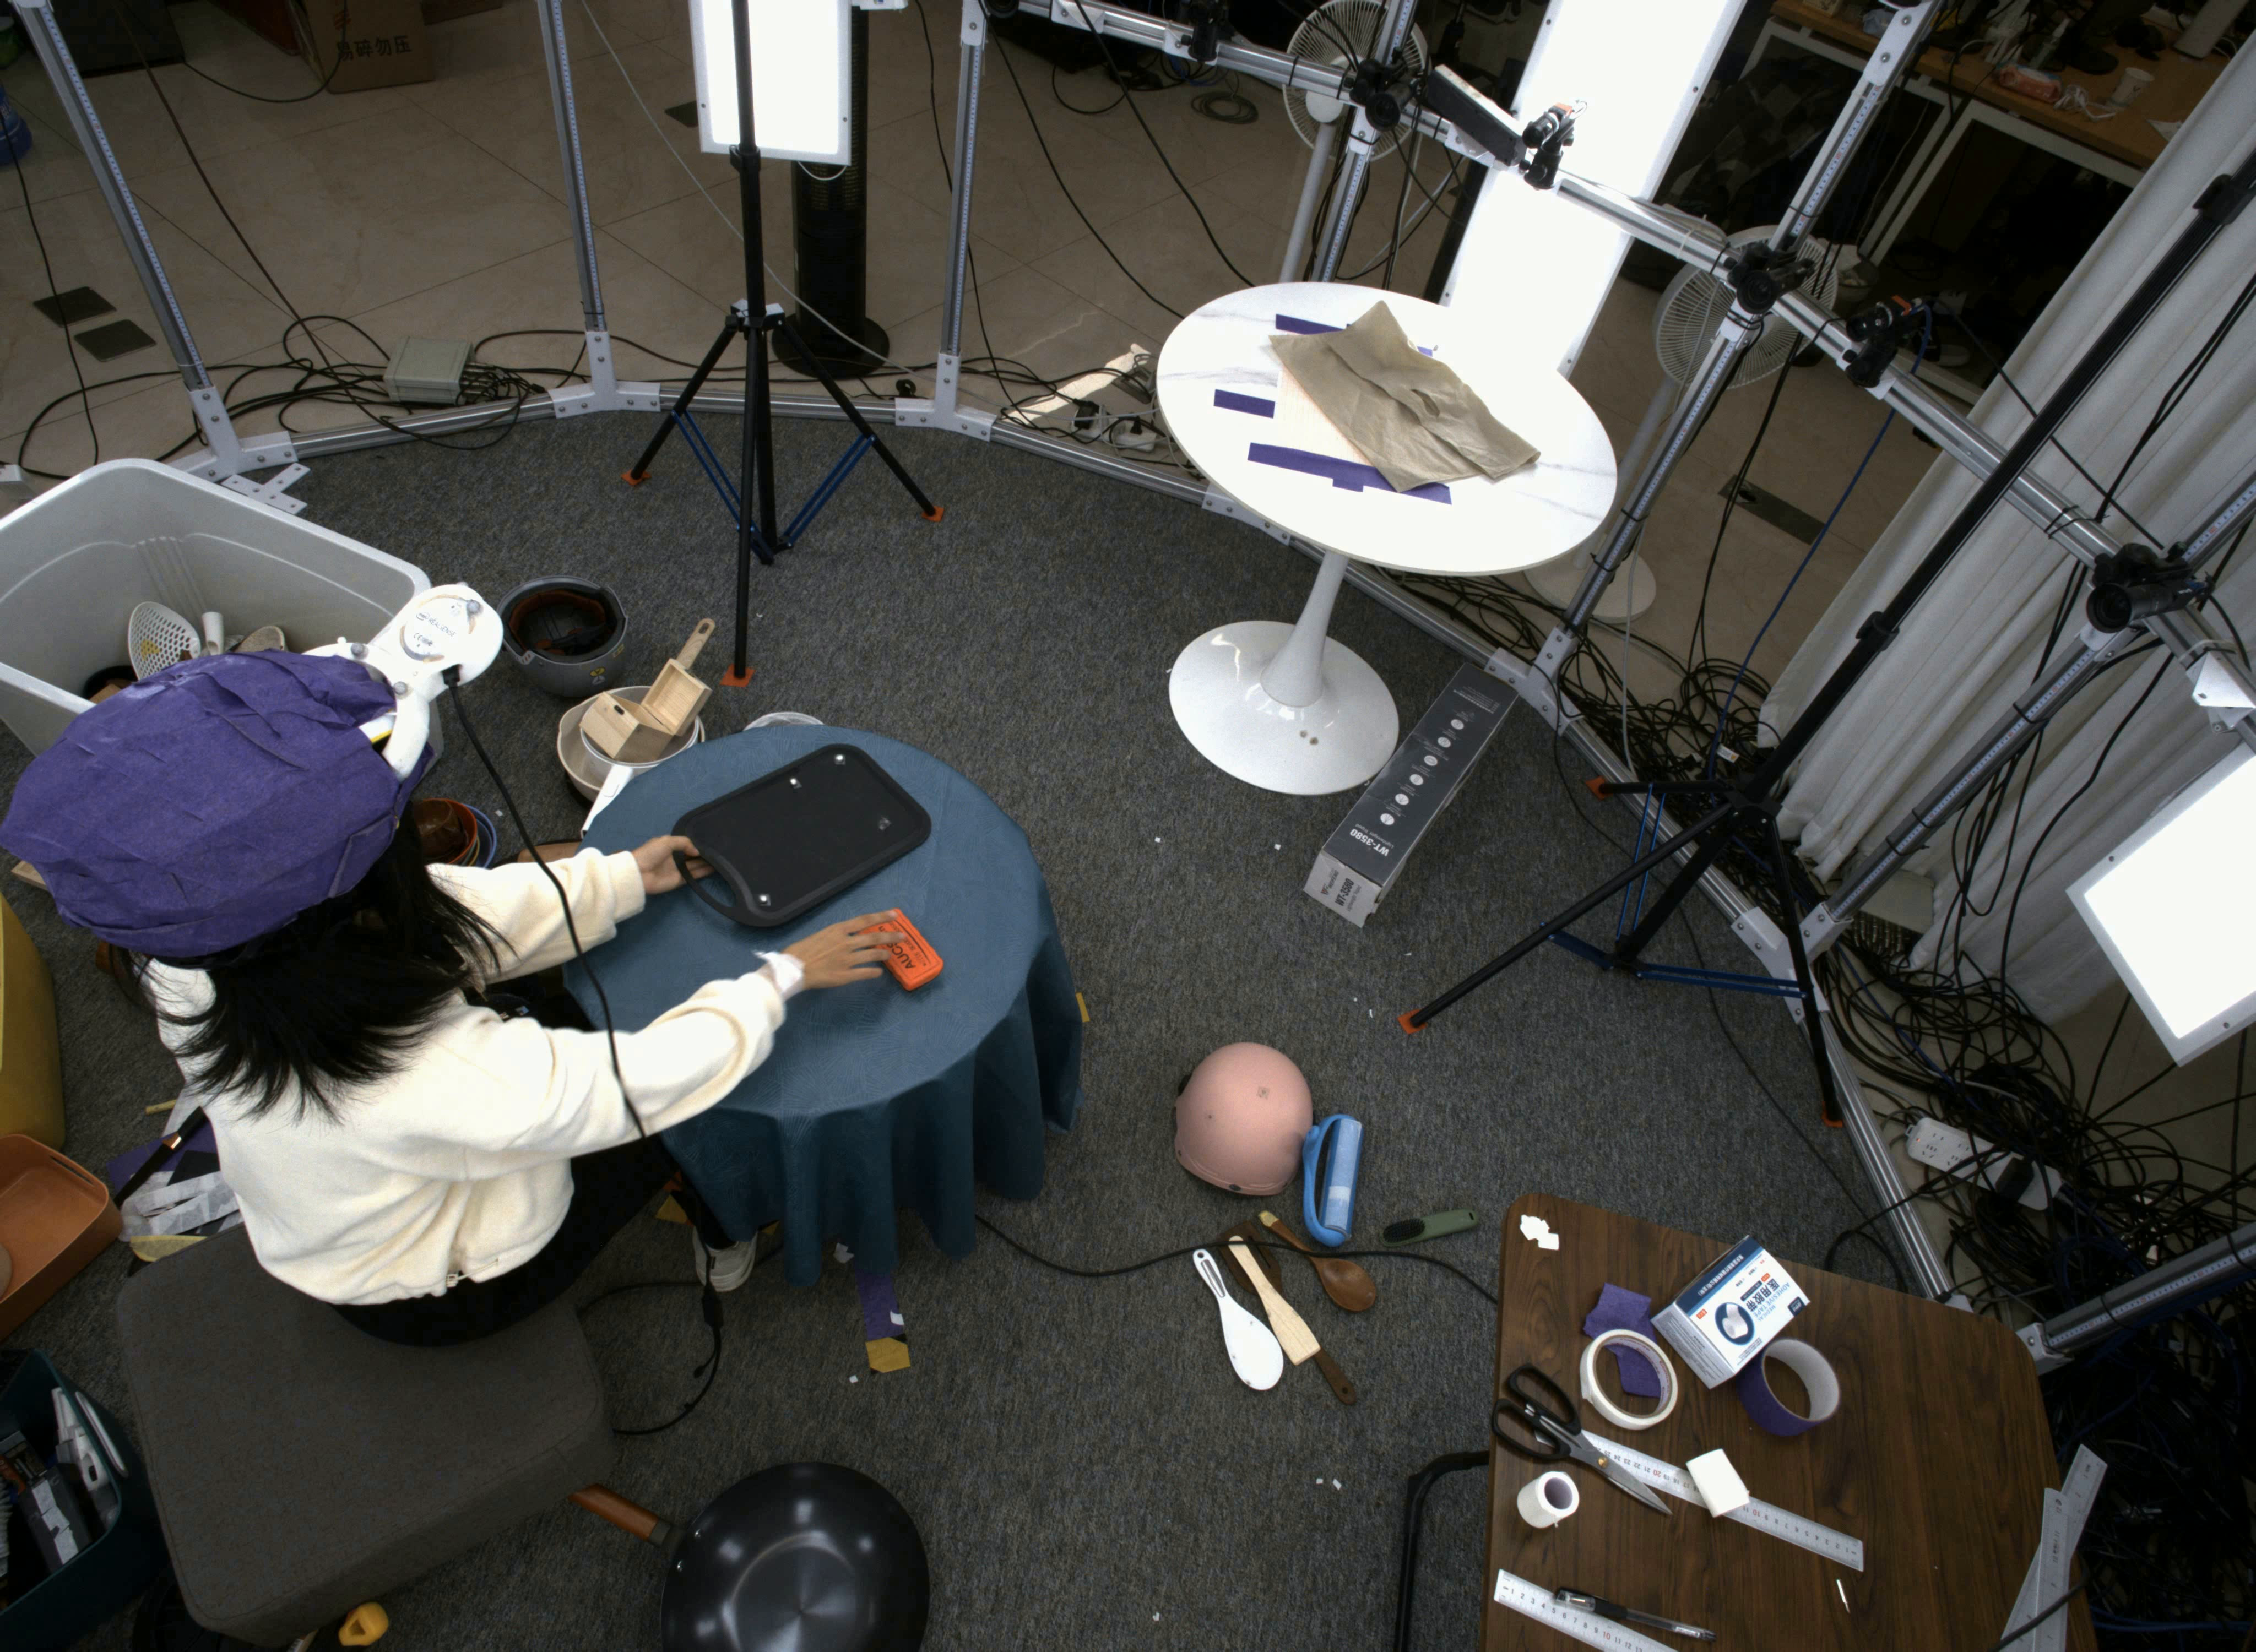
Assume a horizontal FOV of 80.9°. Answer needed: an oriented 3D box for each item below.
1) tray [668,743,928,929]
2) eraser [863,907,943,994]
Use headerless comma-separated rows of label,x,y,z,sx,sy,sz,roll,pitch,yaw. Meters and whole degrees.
tray,-0.431,0.008,1.692,0.207,0.010,0.326,44,51,16
eraser,-0.281,0.153,1.627,0.059,0.023,0.105,-32,66,-29
